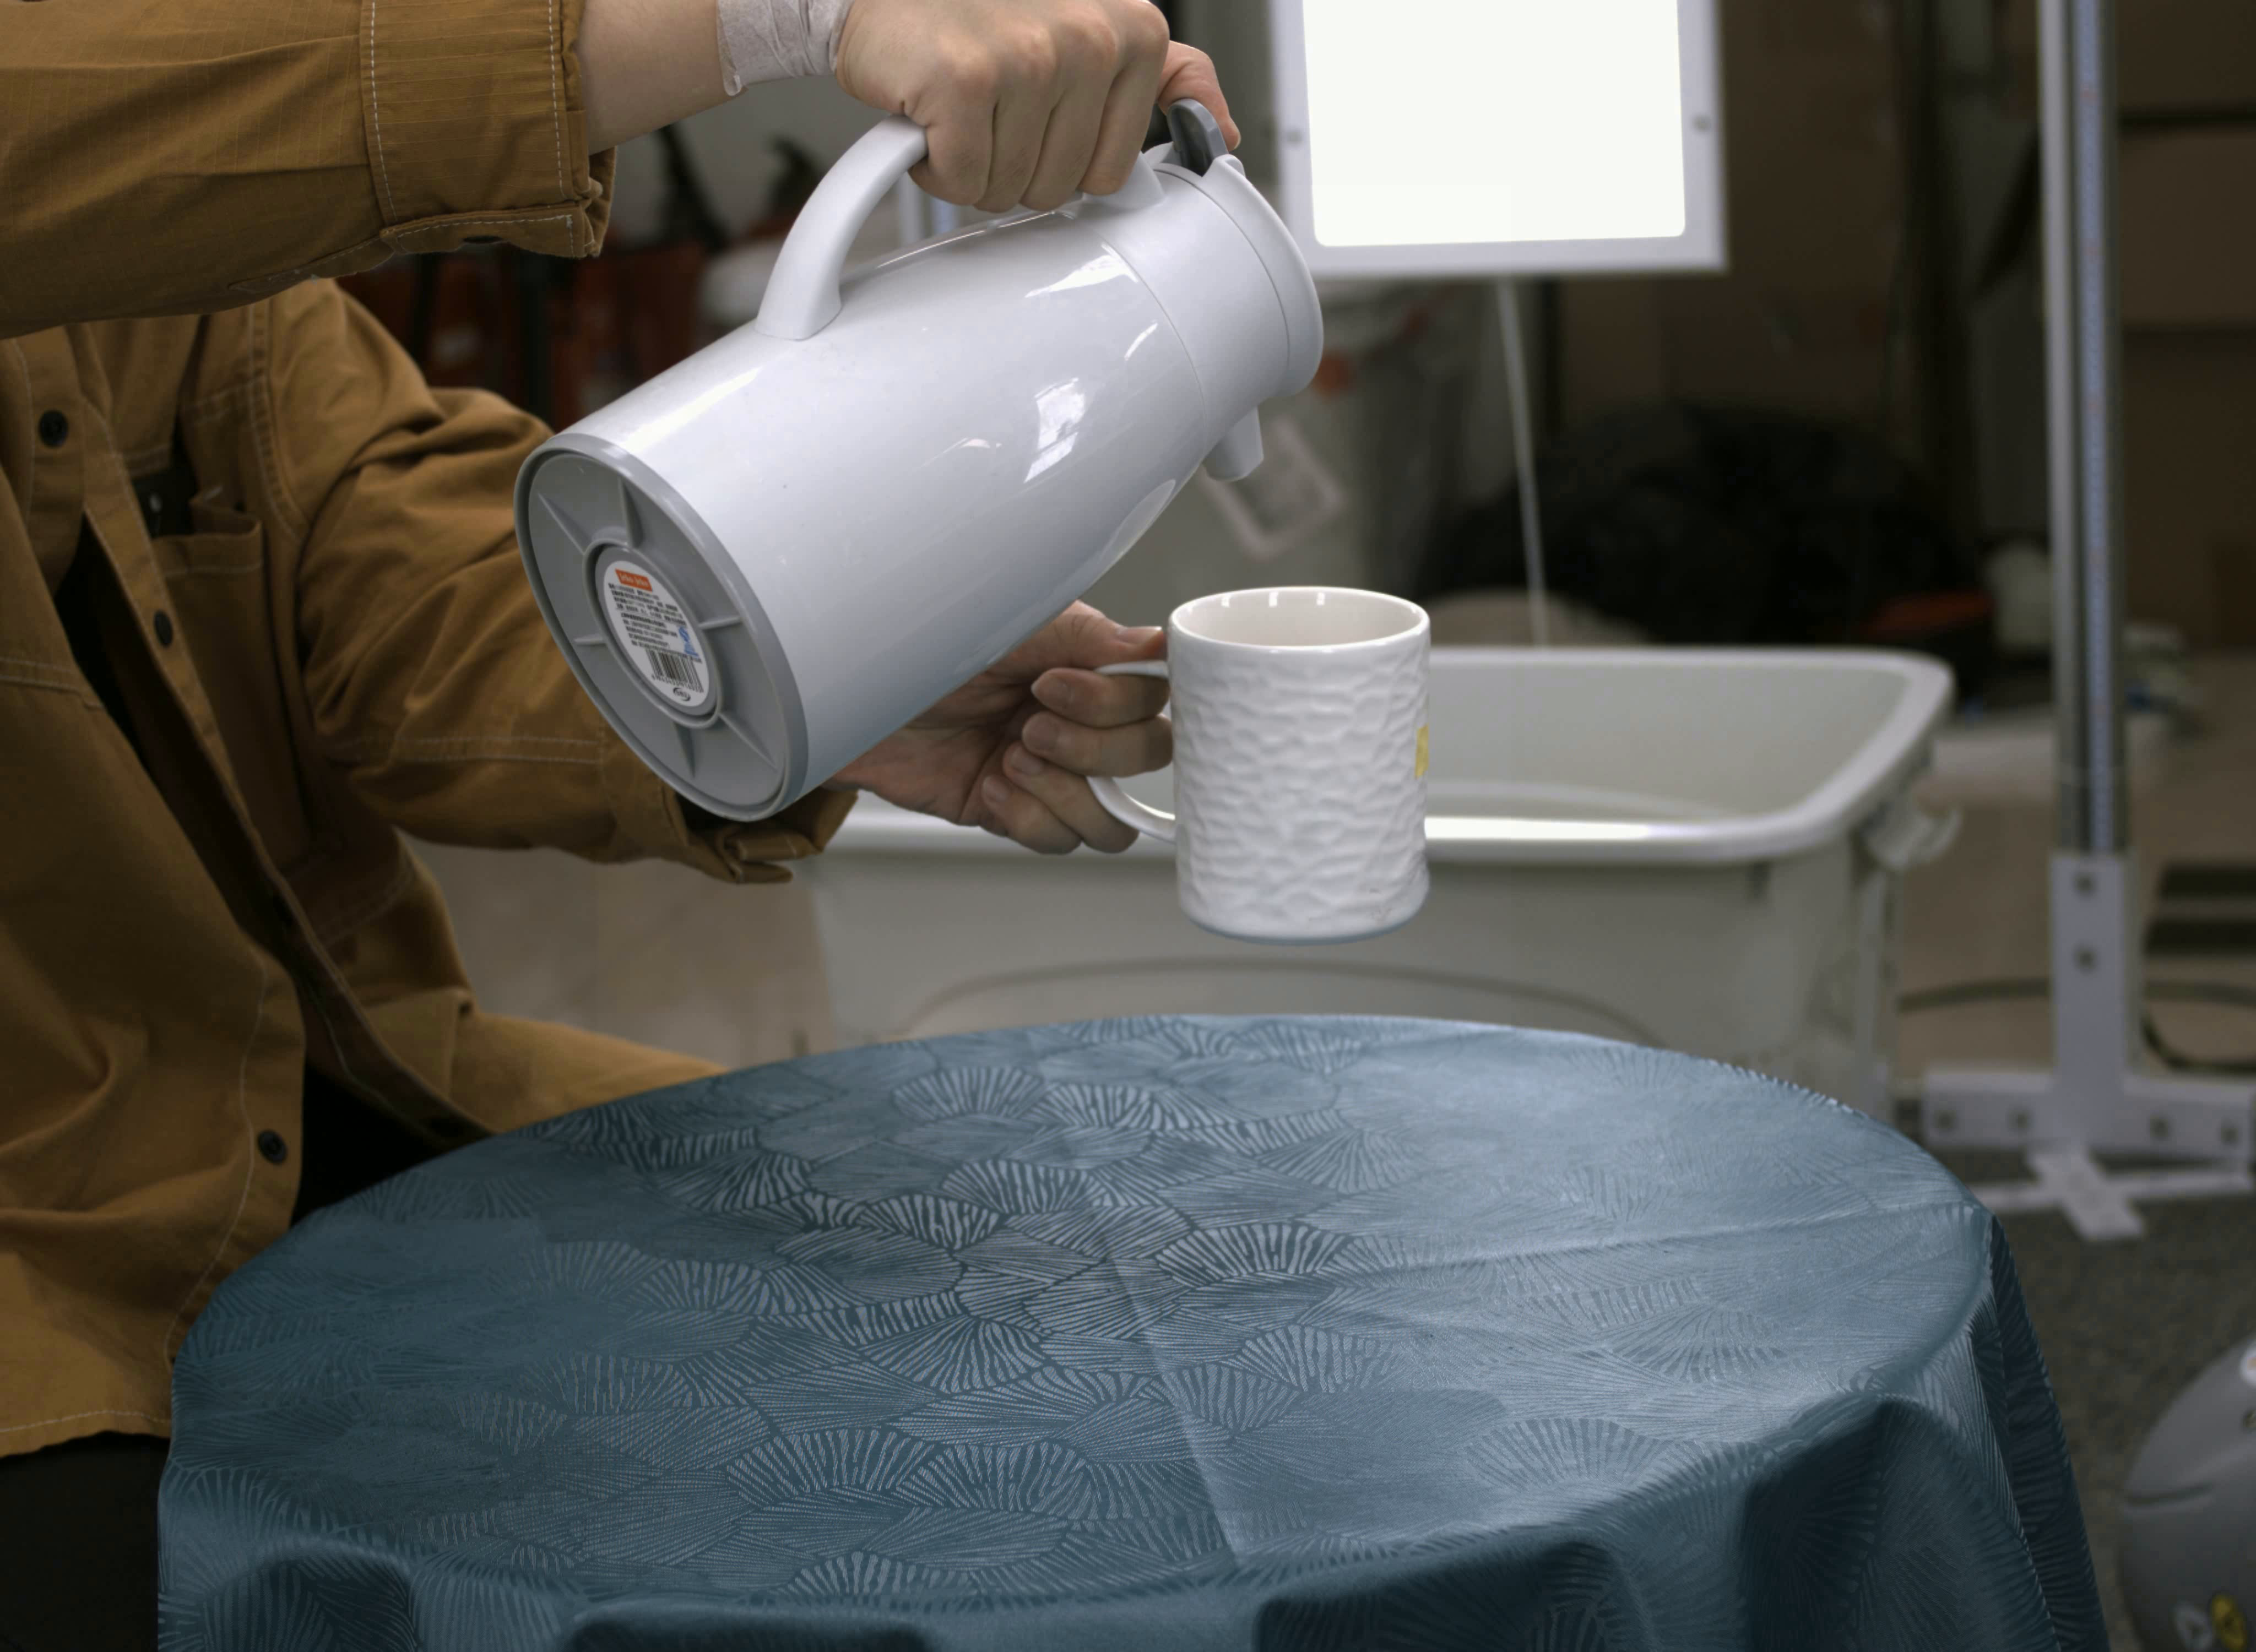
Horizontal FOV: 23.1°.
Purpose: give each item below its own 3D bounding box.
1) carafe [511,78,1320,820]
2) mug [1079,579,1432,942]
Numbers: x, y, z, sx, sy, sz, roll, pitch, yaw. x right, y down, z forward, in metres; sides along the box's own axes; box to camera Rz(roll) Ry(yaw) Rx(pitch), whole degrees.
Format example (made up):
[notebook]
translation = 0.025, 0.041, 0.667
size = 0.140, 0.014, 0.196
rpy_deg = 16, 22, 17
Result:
[carafe]
translation = -0.059, -0.135, 1.702
size = 0.244, 0.167, 0.135
rpy_deg = -34, 34, -24
[mug]
translation = 0.041, -0.023, 1.815
size = 0.119, 0.102, 0.083
rpy_deg = 5, 18, 17
